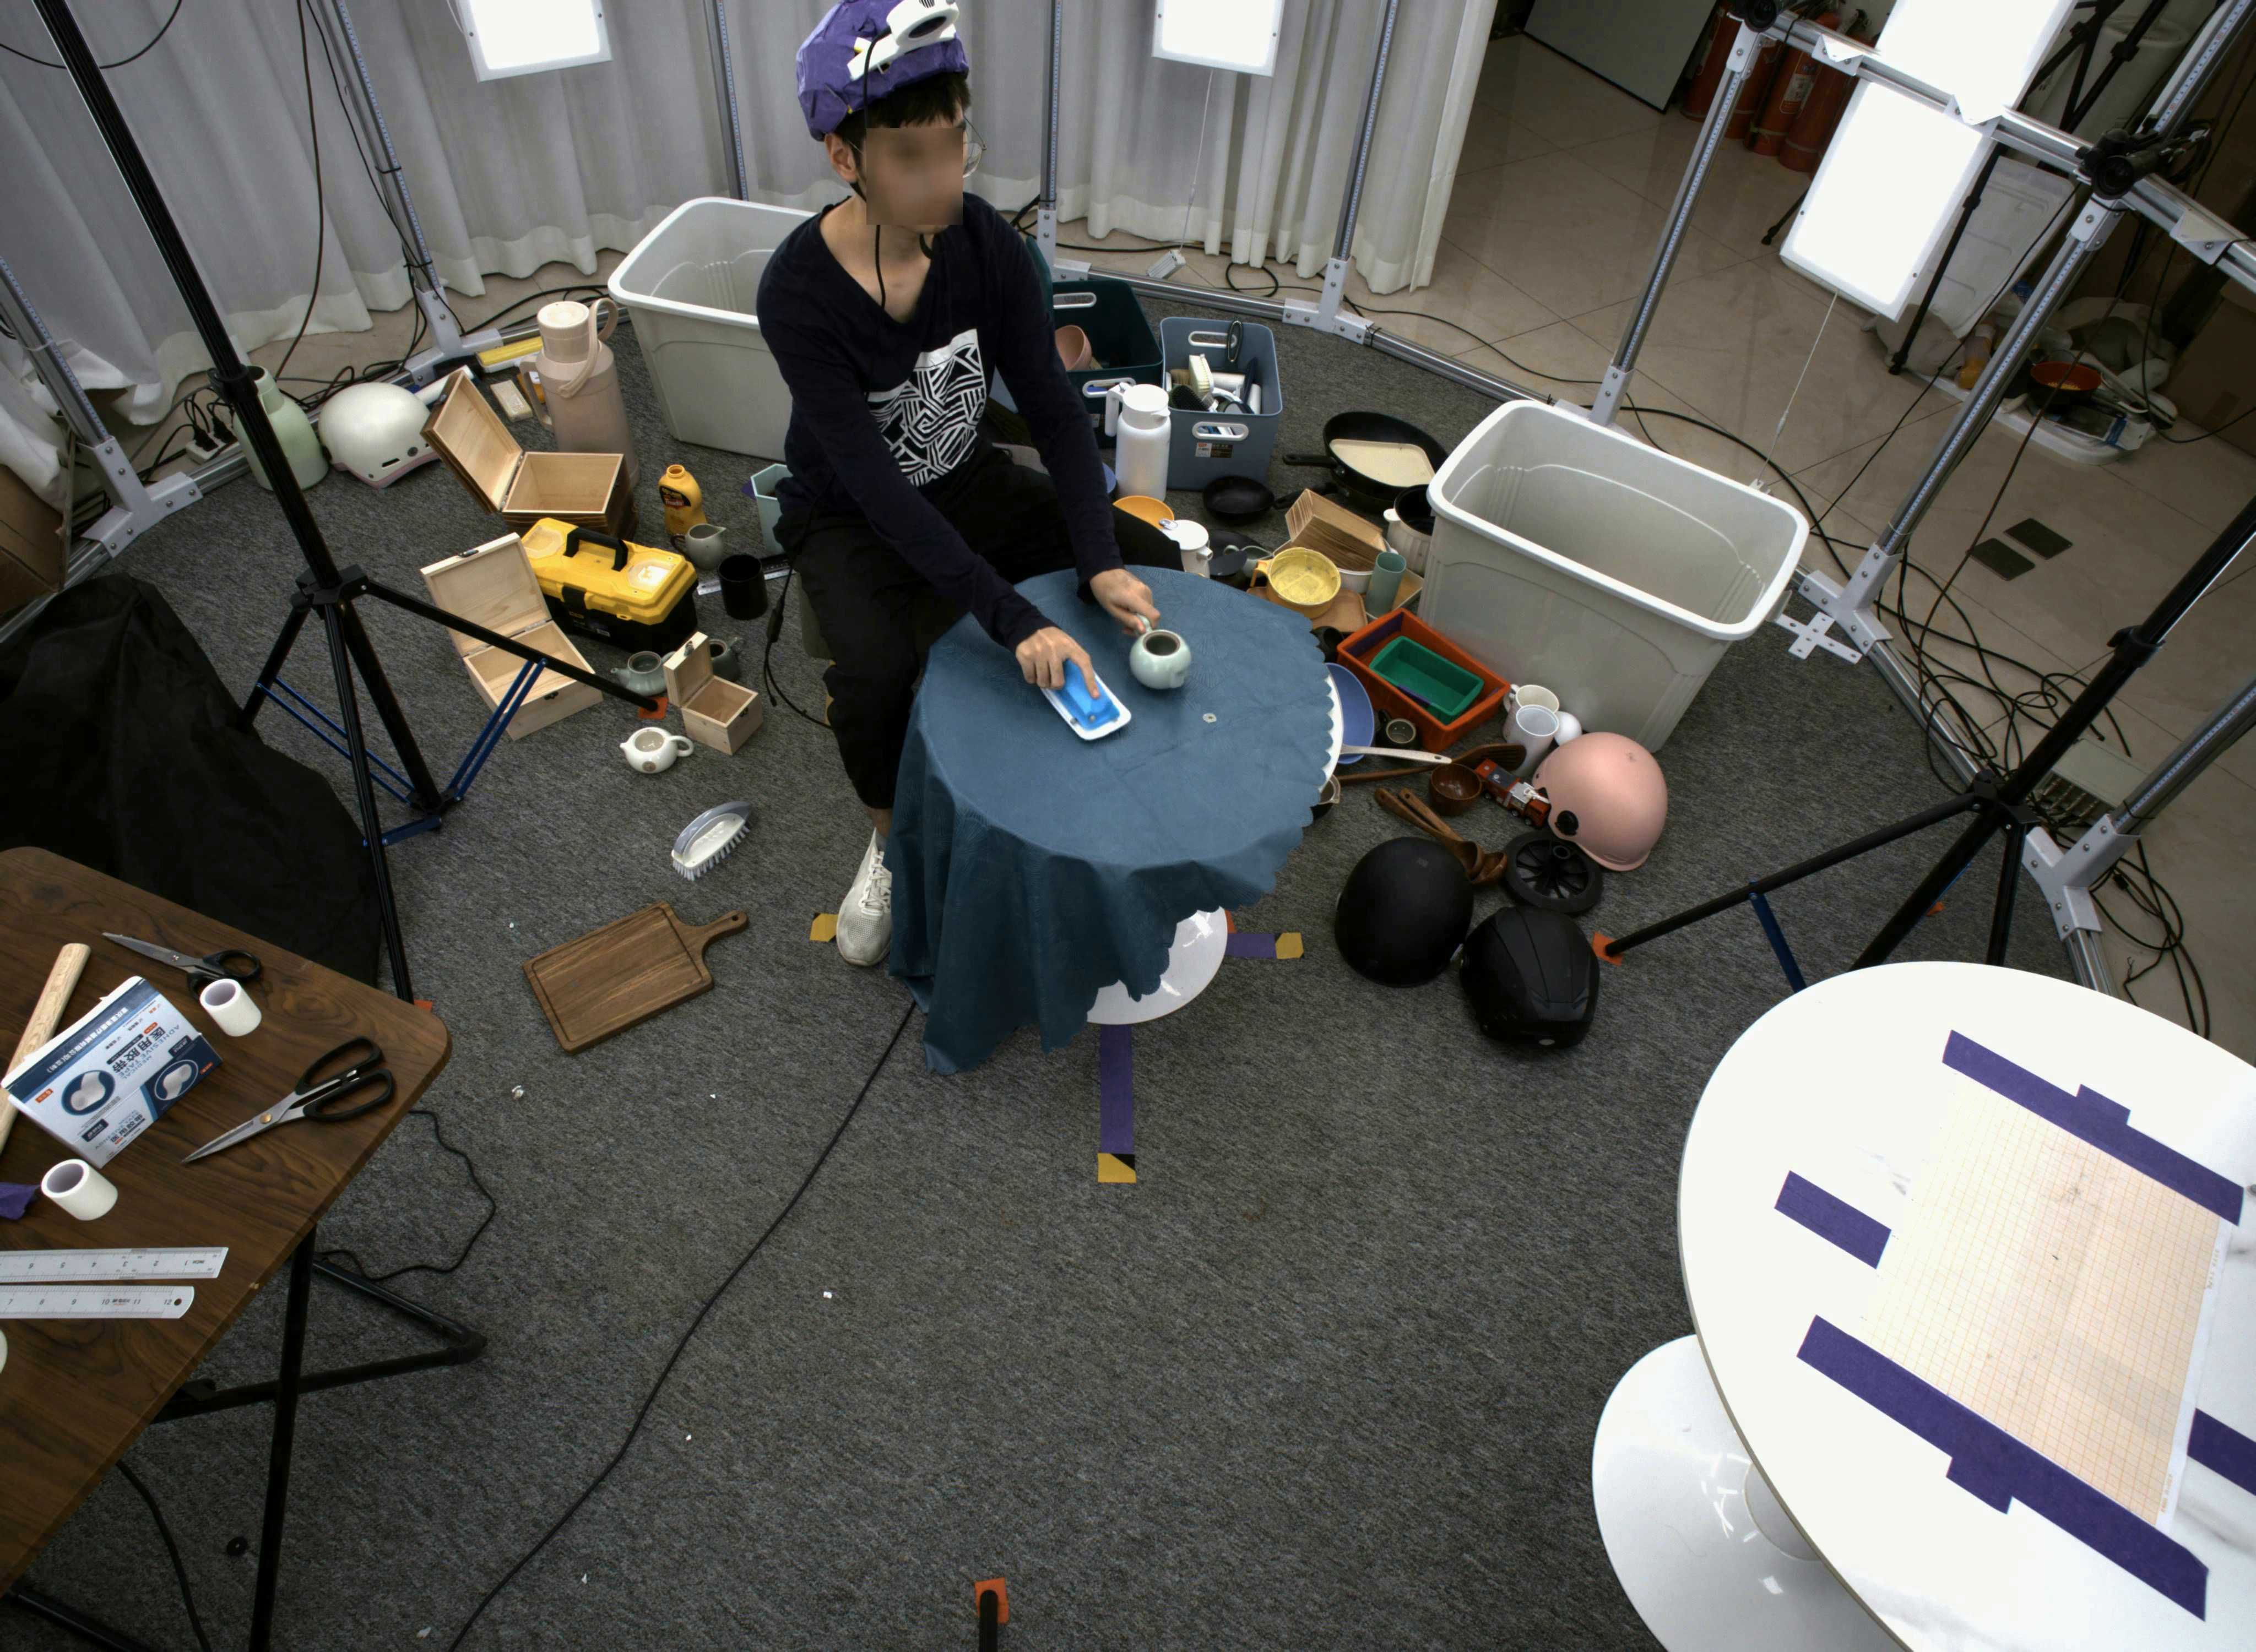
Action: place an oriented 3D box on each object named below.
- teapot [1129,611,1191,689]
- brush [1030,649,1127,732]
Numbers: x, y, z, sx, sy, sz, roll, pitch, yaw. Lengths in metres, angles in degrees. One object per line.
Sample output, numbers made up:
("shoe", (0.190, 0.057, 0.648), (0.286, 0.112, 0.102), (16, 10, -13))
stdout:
("teapot", (0.046, -0.238, 1.830), (0.088, 0.073, 0.147), (-18, 55, -18))
("brush", (-0.067, -0.195, 1.777), (0.084, 0.054, 0.146), (-30, 59, -26))
